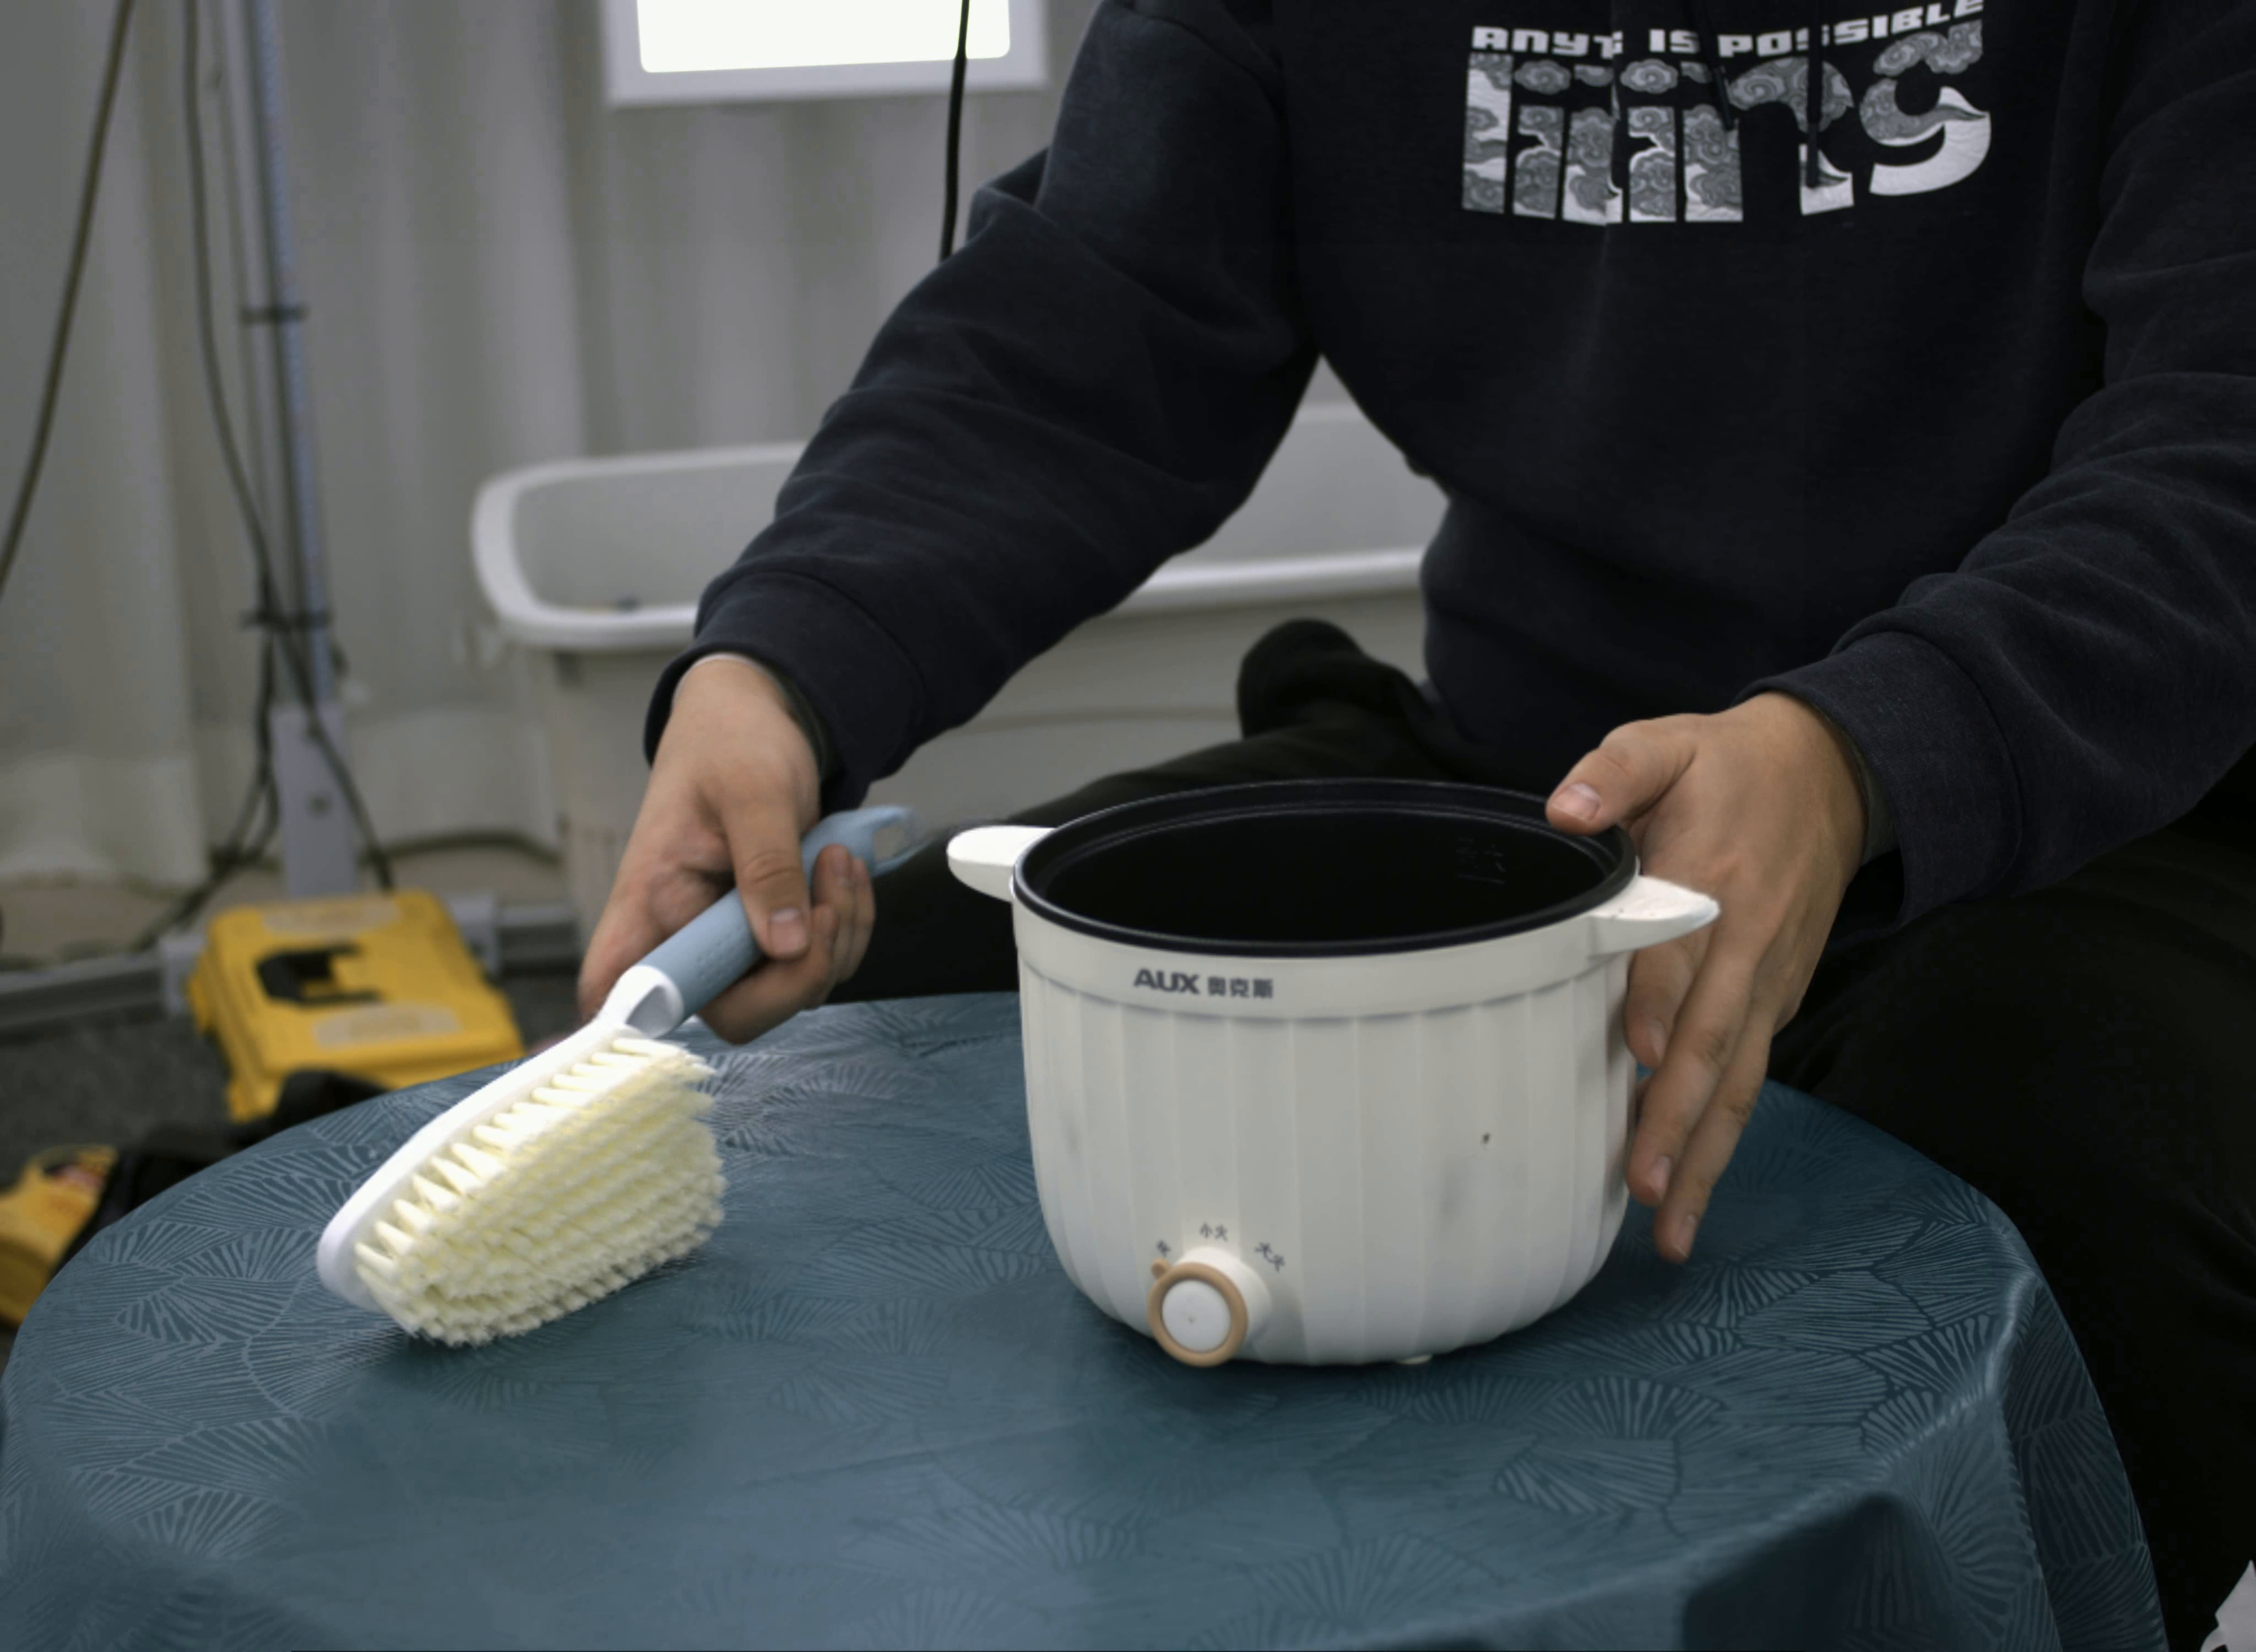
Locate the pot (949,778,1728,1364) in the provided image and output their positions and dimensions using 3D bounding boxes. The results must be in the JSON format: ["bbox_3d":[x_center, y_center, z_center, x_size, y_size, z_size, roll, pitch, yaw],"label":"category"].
[{"bbox_3d":[0.058,0.074,1.591,0.241,0.142,0.190,3,12,25],"label":"pot"}]

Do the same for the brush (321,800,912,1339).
[{"bbox_3d":[-0.129,0.066,1.711,0.085,0.082,0.327,40,38,7],"label":"brush"}]
